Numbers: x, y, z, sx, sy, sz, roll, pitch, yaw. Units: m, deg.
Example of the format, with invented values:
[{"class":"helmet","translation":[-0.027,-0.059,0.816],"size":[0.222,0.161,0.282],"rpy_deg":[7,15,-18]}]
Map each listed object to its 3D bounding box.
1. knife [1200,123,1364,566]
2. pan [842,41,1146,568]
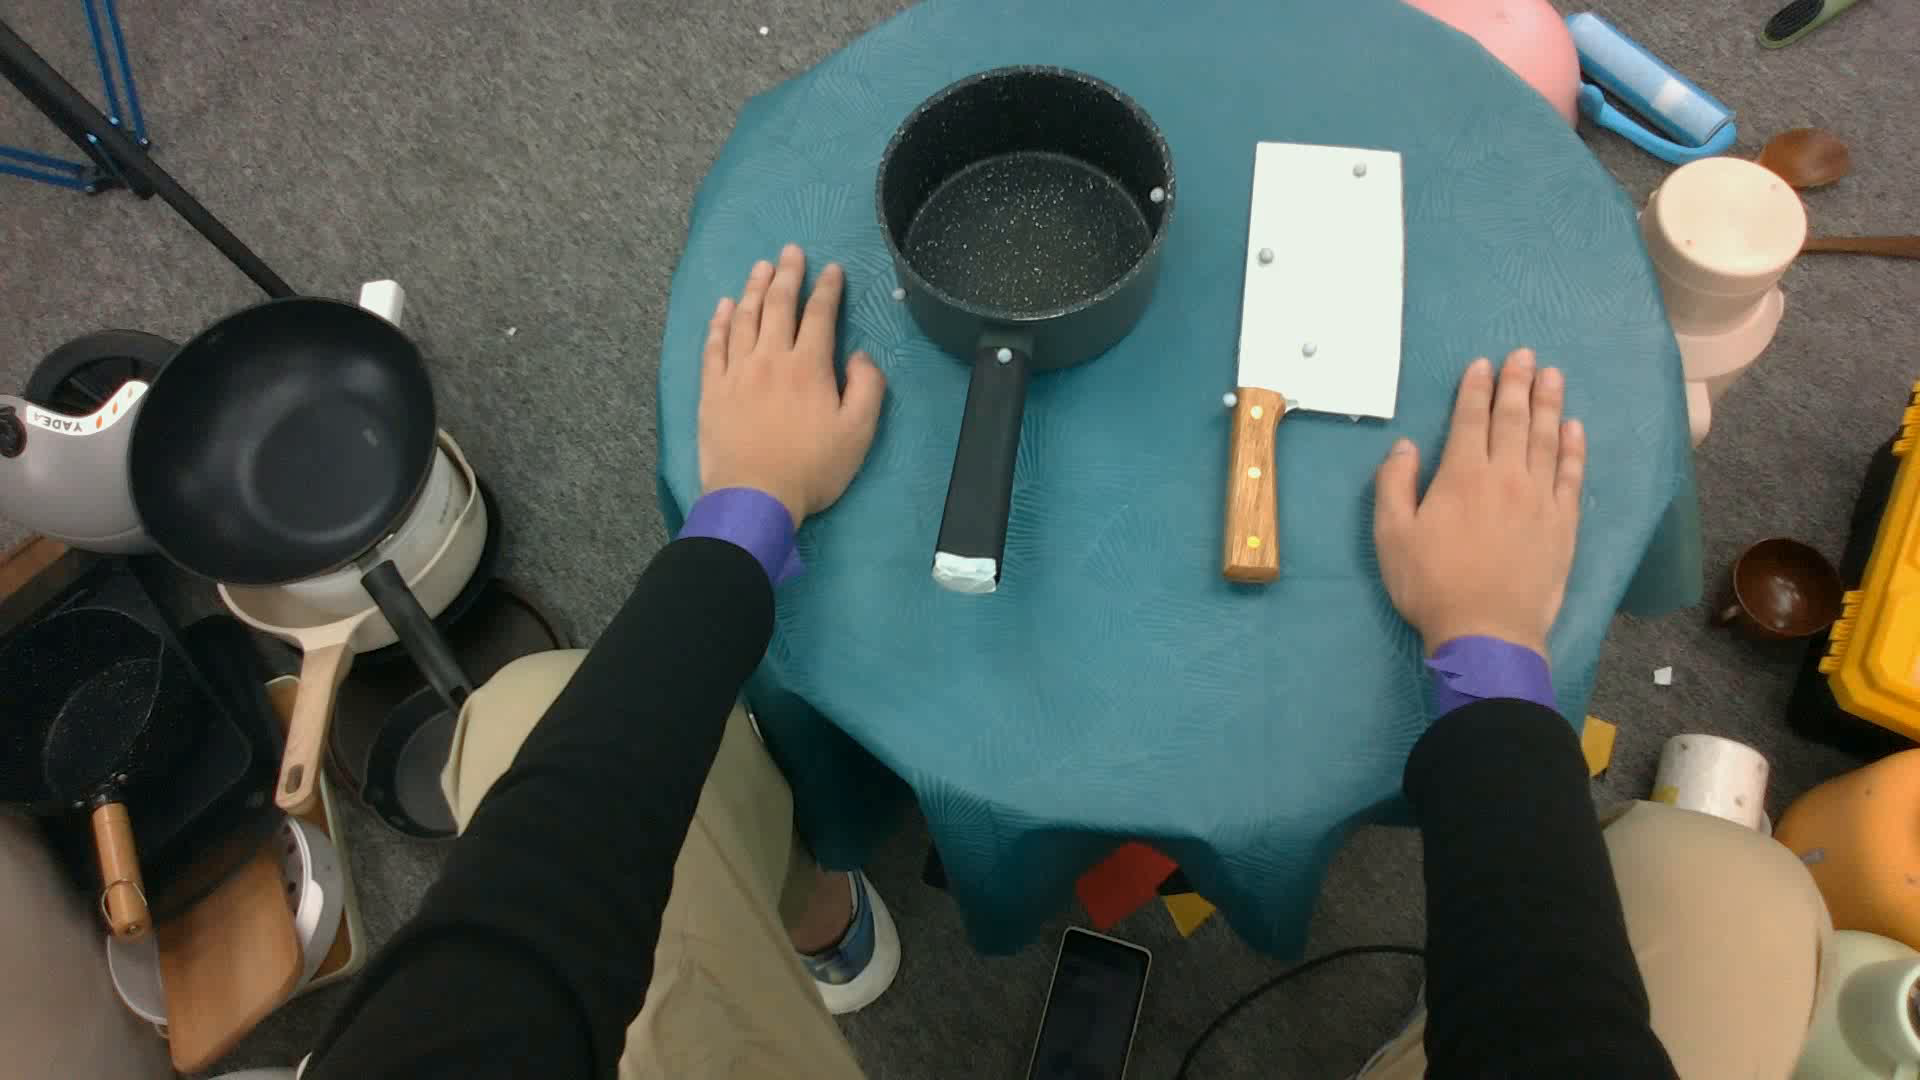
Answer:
[{"class":"knife","translation":[0.190,-0.123,0.806],"size":[0.093,0.021,0.307],"rpy_deg":[6,66,4]},{"class":"pan","translation":[0.008,-0.128,0.783],"size":[0.172,0.086,0.330],"rpy_deg":[8,68,7]}]
